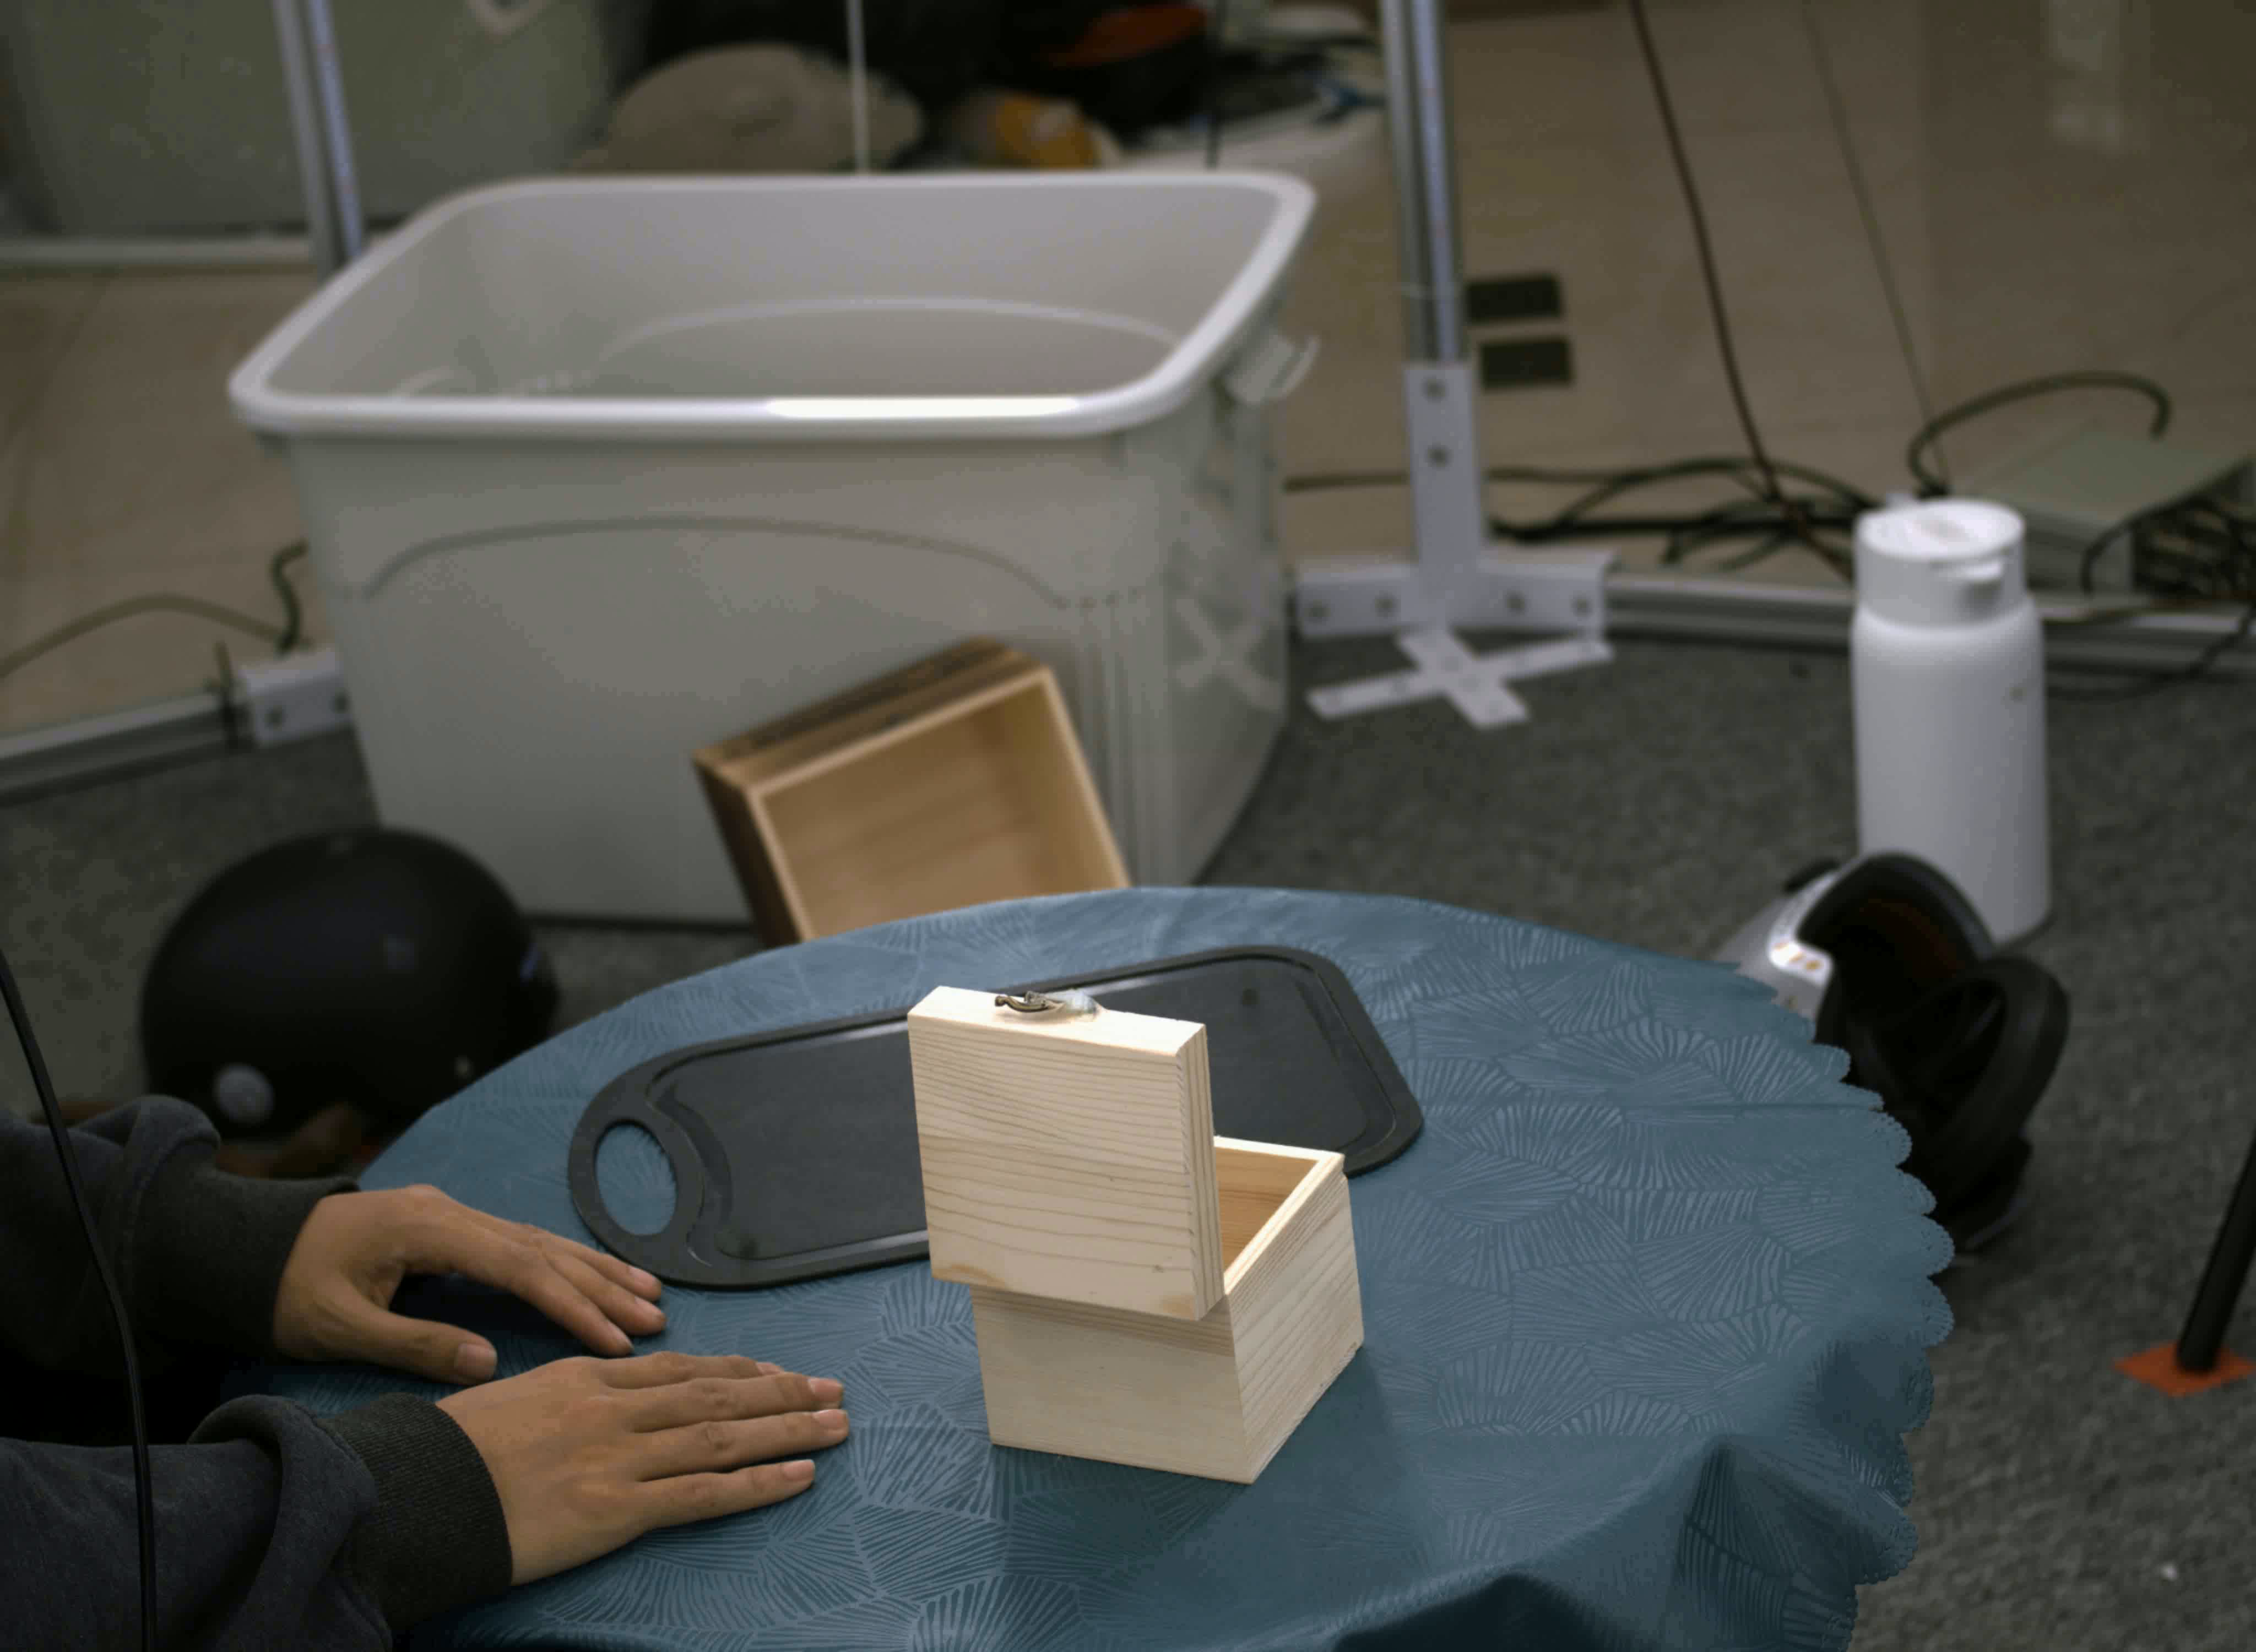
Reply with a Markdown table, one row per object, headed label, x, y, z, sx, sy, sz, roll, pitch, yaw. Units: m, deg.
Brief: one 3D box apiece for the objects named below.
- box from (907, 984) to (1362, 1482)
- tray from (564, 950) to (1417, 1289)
| label | x | y | z | sx | sy | sz | roll | pitch | yaw |
| --- | --- | --- | --- | --- | --- | --- | --- | --- | --- |
| box | 0.005 | 0.122 | 1.960 | 0.102 | 0.187 | 0.132 | 7 | 30 | 25 |
| tray | -0.058 | 0.112 | 2.212 | 0.325 | 0.010 | 0.208 | -10 | 25 | -7 |
